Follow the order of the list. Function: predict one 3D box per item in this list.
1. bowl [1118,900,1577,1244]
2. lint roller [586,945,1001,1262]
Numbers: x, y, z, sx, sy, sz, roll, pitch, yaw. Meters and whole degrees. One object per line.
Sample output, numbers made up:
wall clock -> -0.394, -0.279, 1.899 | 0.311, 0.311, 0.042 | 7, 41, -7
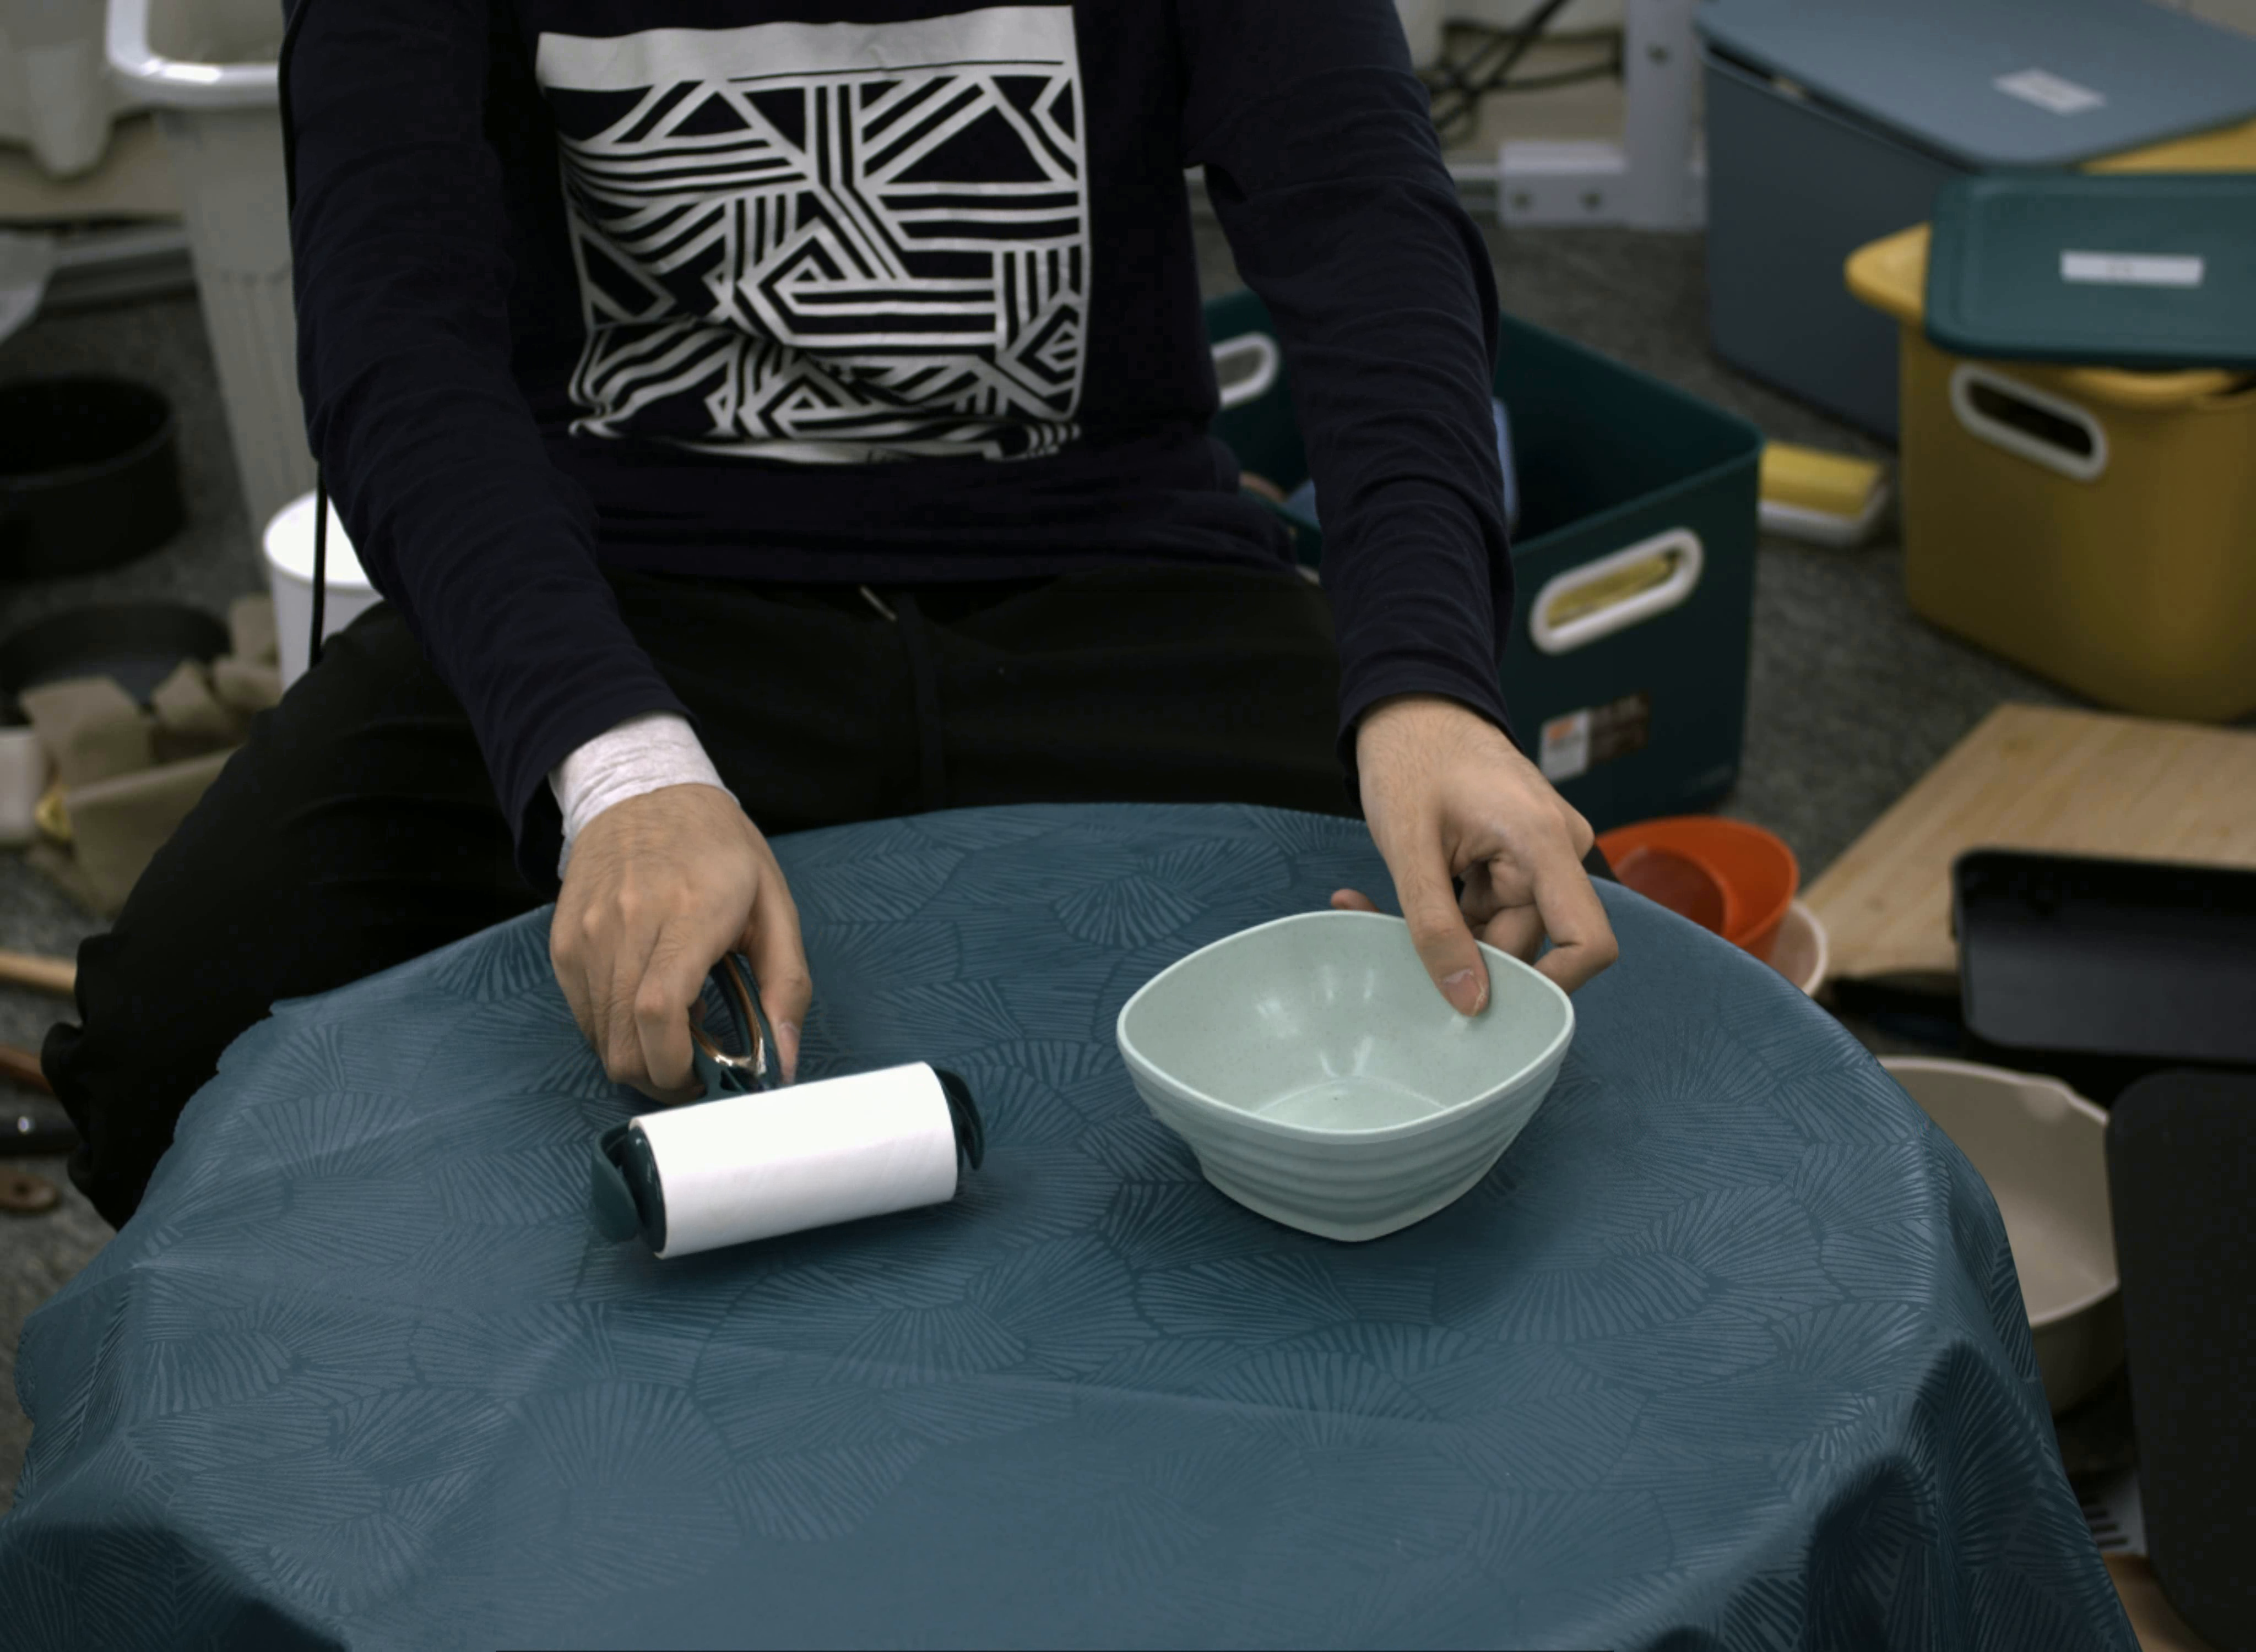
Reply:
bowl -> 0.072, 0.087, 1.858 | 0.151, 0.058, 0.154 | -1, 29, 1
lint roller -> -0.134, 0.075, 1.888 | 0.134, 0.047, 0.182 | -10, 36, -19
